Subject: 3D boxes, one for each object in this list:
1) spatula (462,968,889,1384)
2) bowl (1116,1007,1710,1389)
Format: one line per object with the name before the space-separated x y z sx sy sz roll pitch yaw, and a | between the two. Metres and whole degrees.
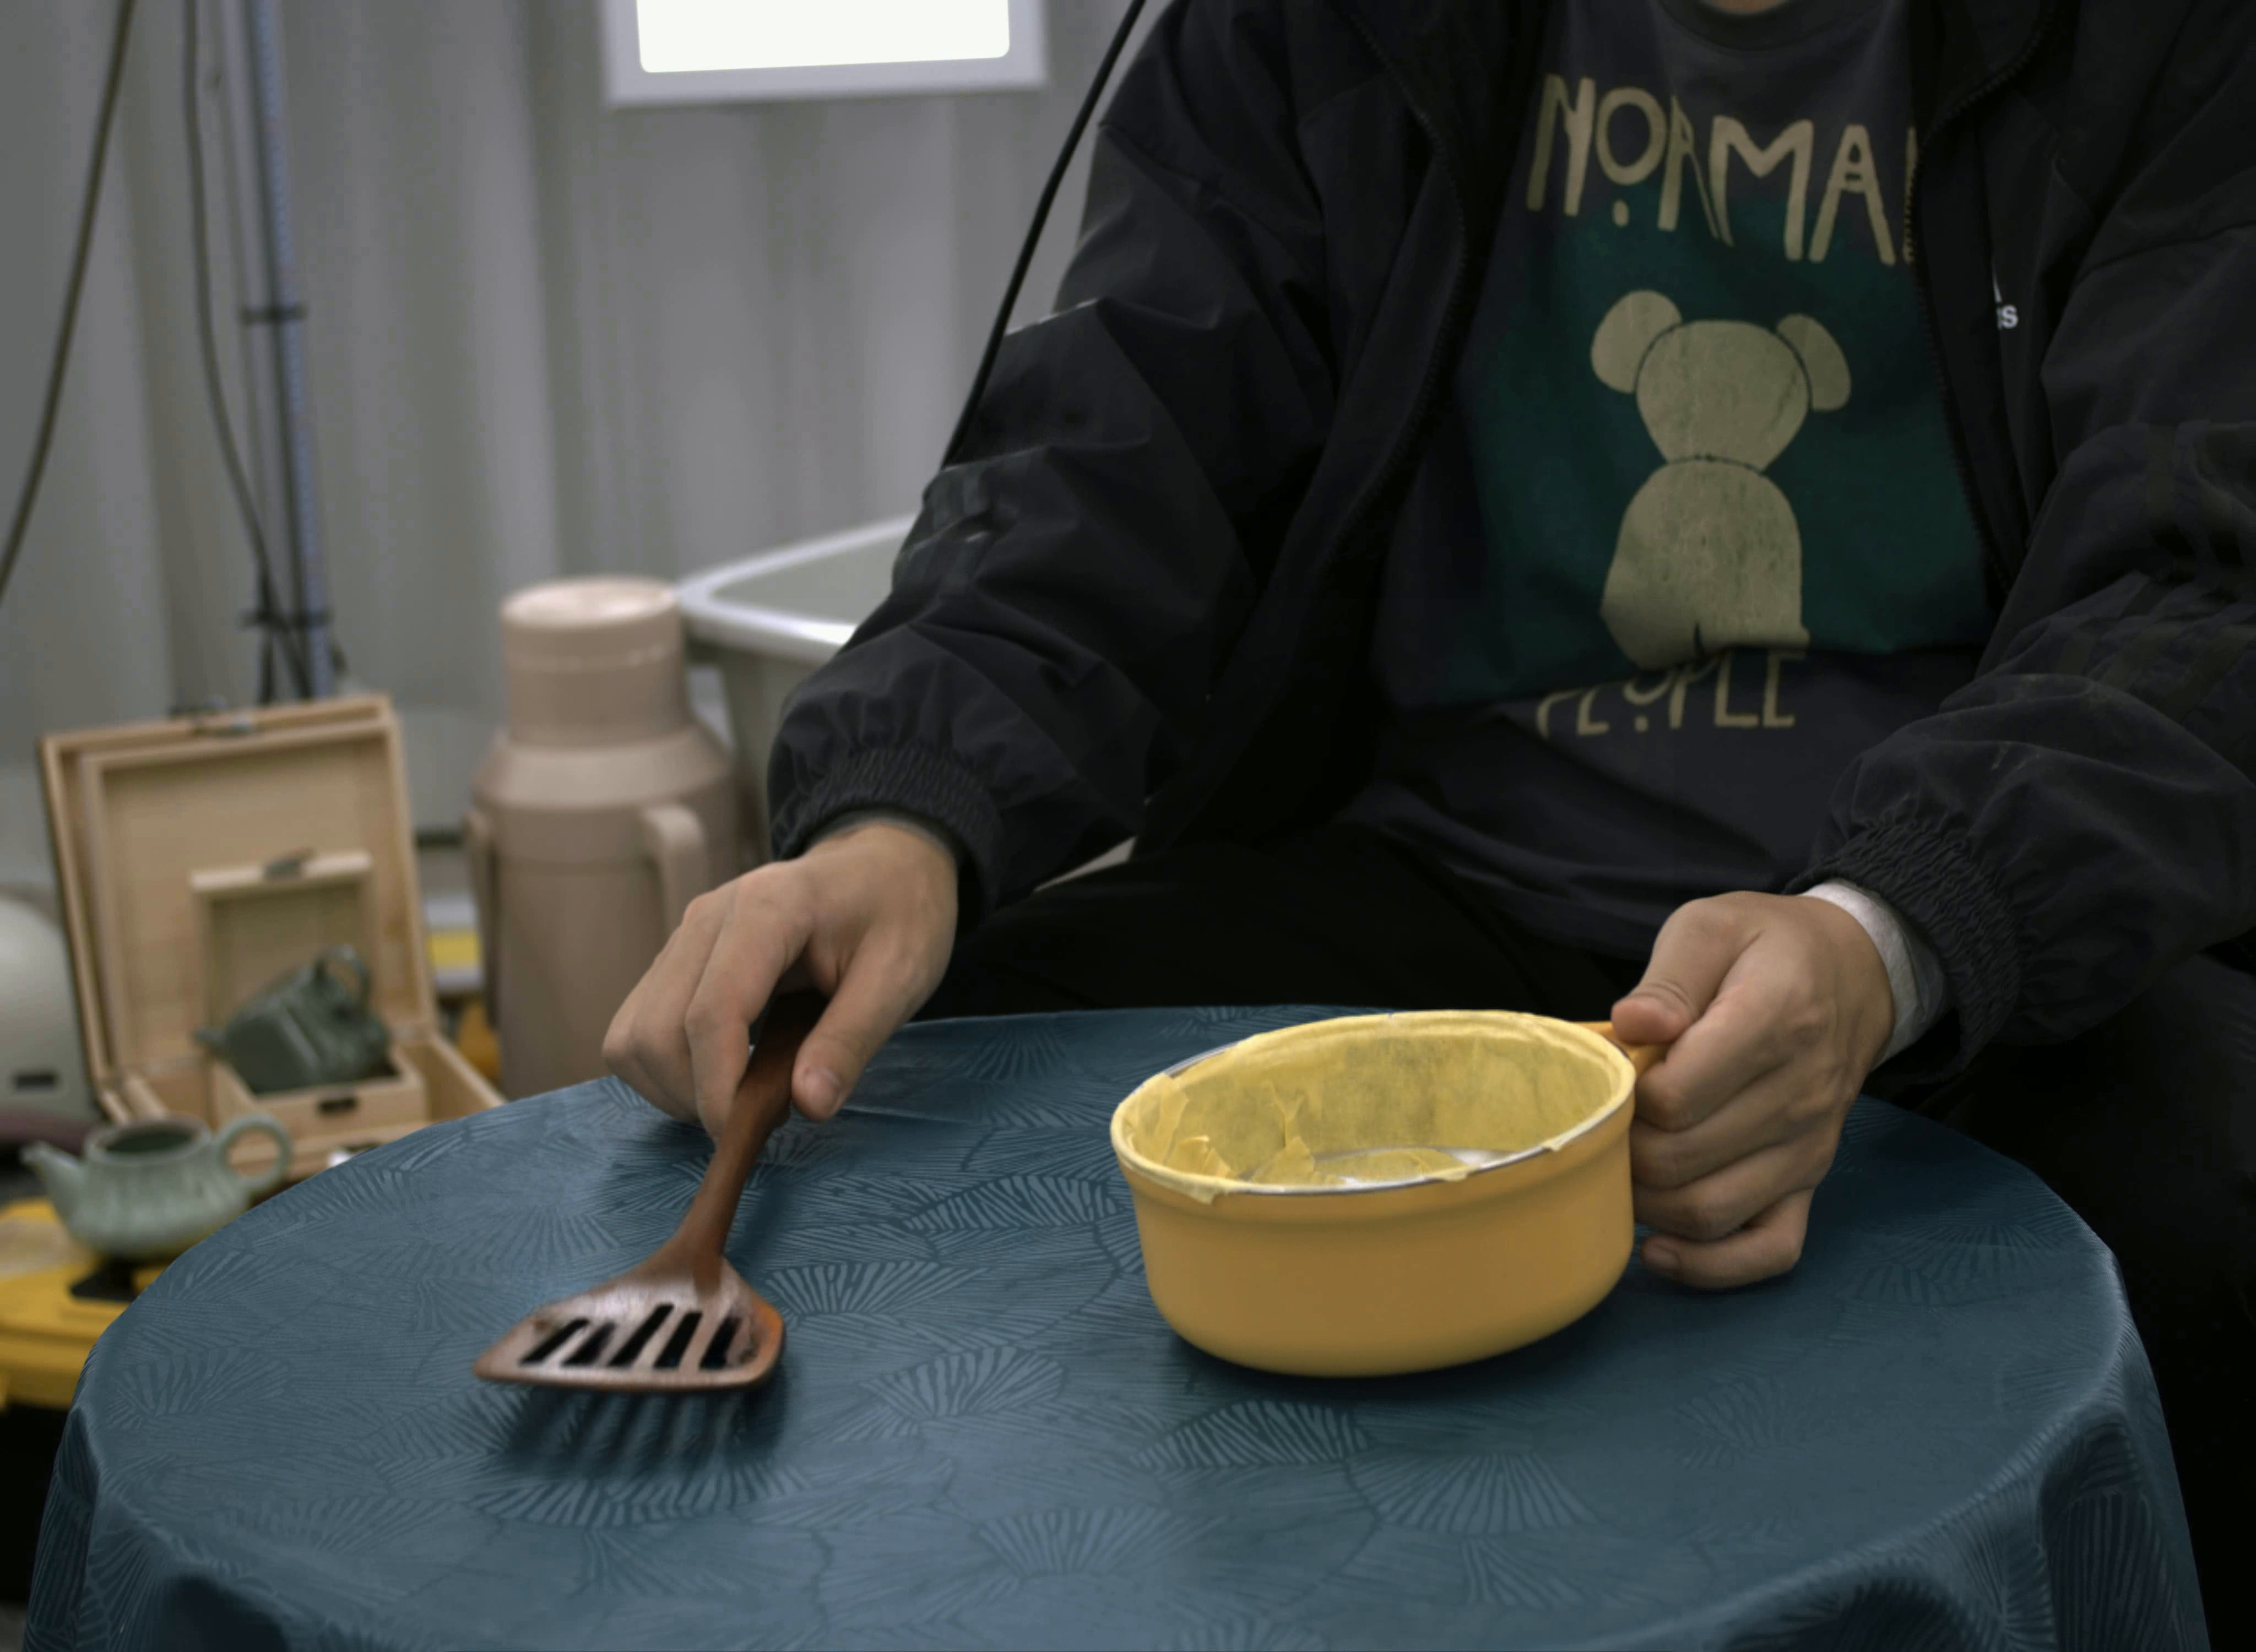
spatula | -0.120 0.107 1.693 0.085 0.024 0.389 3 17 8
bowl | 0.088 0.106 1.584 0.179 0.074 0.154 -17 18 -28
